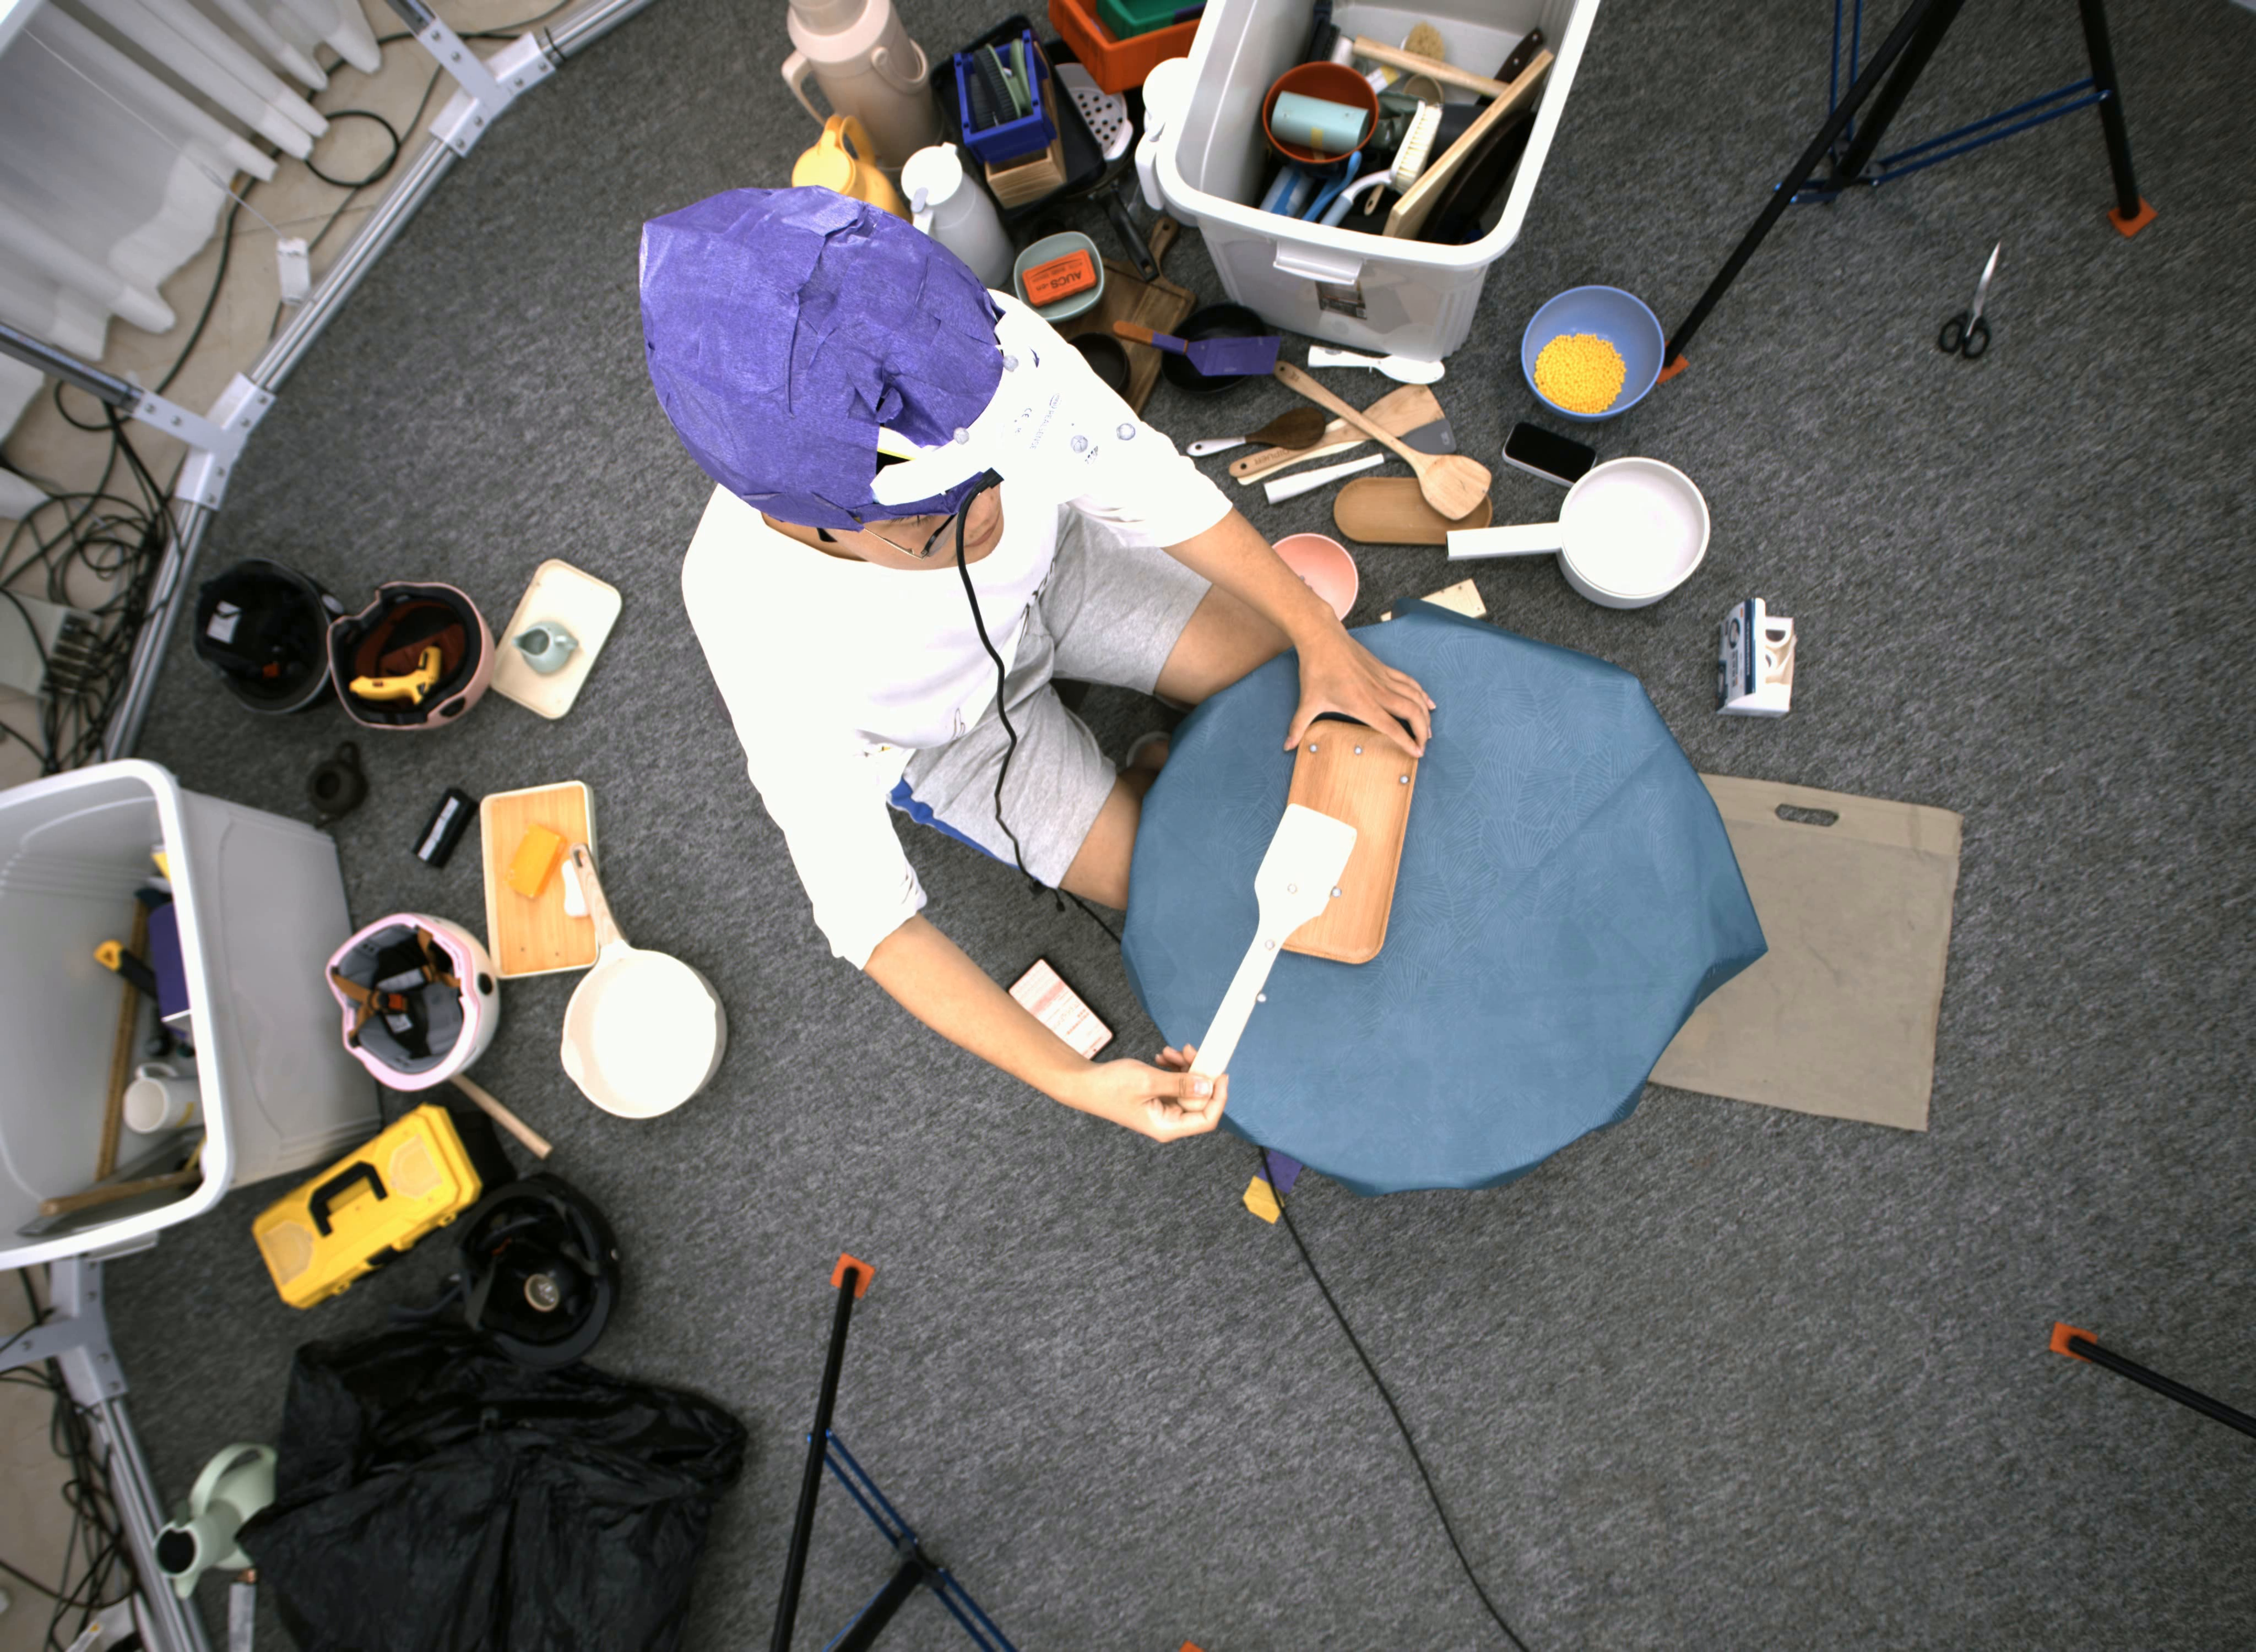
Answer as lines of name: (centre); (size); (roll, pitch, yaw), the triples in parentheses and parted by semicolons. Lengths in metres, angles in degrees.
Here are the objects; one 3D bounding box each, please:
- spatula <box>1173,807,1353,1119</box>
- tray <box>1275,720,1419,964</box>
spatula: (0.113, 0.124, 1.235); (0.072, 0.011, 0.292); (24, 87, 20)
tray: (0.225, 0.015, 1.464); (0.131, 0.023, 0.250); (12, 90, 14)
